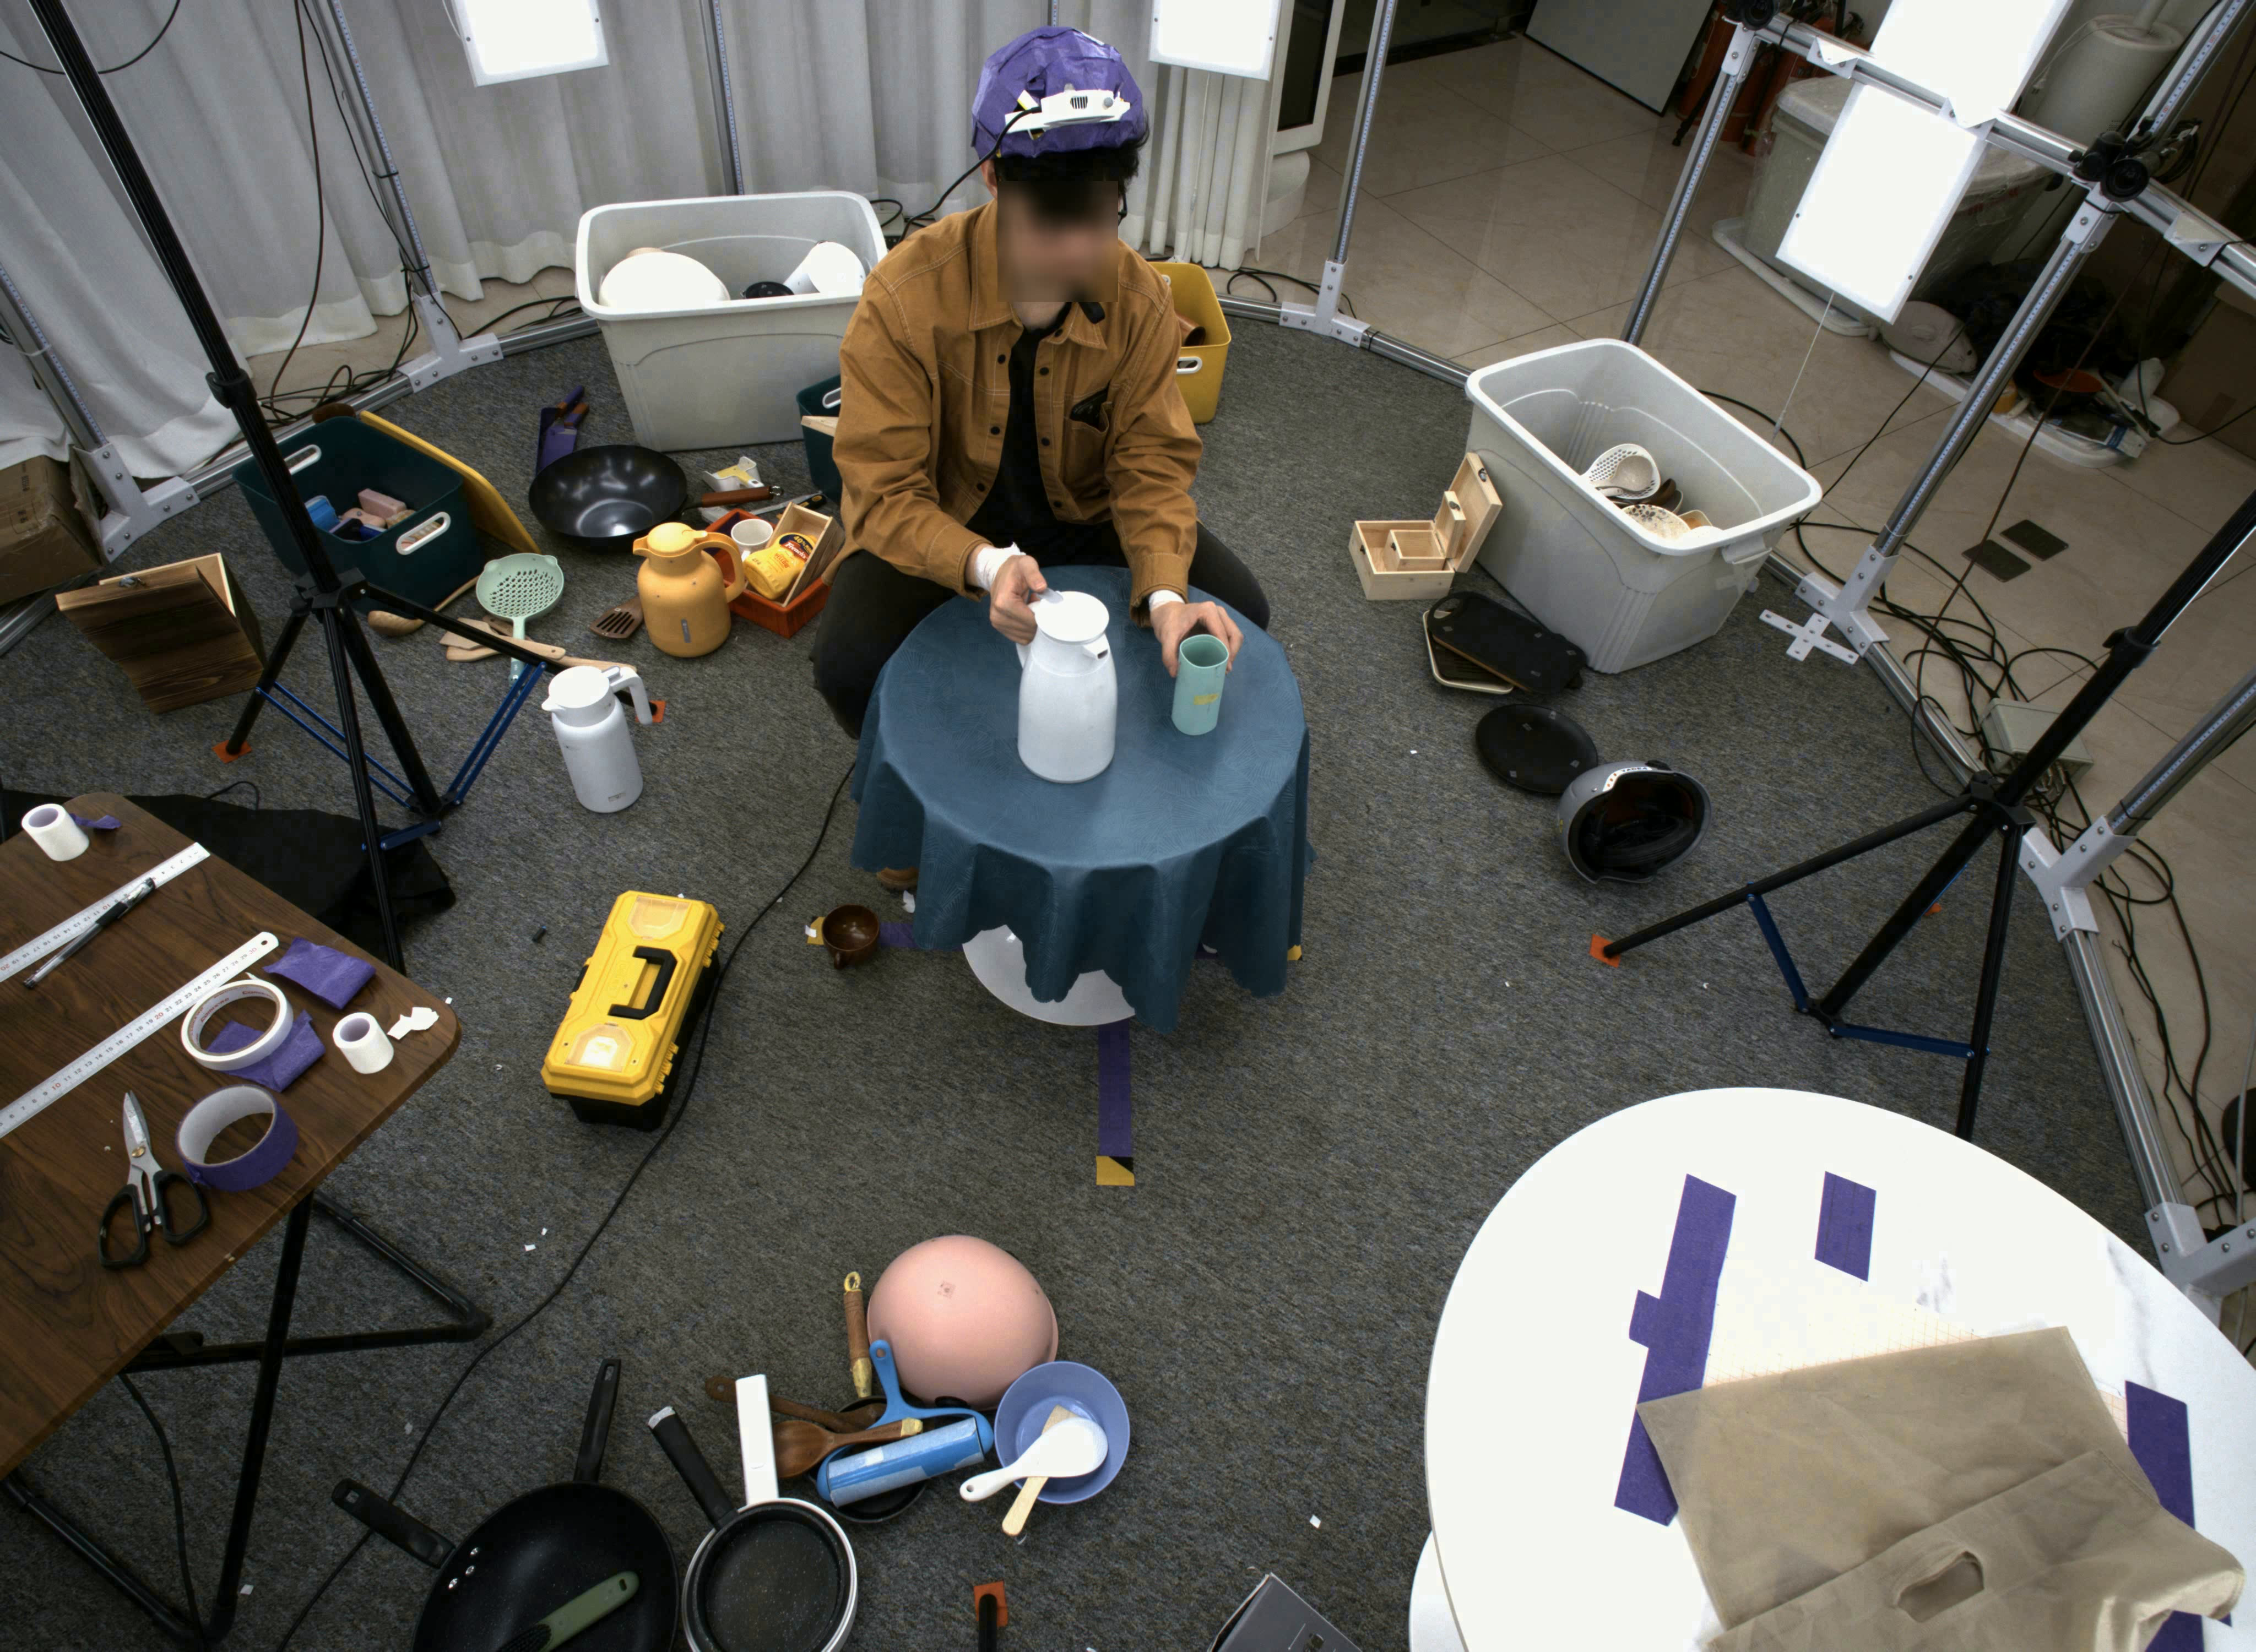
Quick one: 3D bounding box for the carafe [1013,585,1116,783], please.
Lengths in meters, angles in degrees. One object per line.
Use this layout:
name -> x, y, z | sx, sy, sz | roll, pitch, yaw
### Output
carafe -> -0.092, -0.196, 1.674 | 0.133, 0.242, 0.170 | -32, 58, -27

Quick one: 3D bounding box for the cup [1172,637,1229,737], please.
cup -> 0.098, -0.191, 1.760 | 0.066, 0.129, 0.068 | 2, 49, -3
